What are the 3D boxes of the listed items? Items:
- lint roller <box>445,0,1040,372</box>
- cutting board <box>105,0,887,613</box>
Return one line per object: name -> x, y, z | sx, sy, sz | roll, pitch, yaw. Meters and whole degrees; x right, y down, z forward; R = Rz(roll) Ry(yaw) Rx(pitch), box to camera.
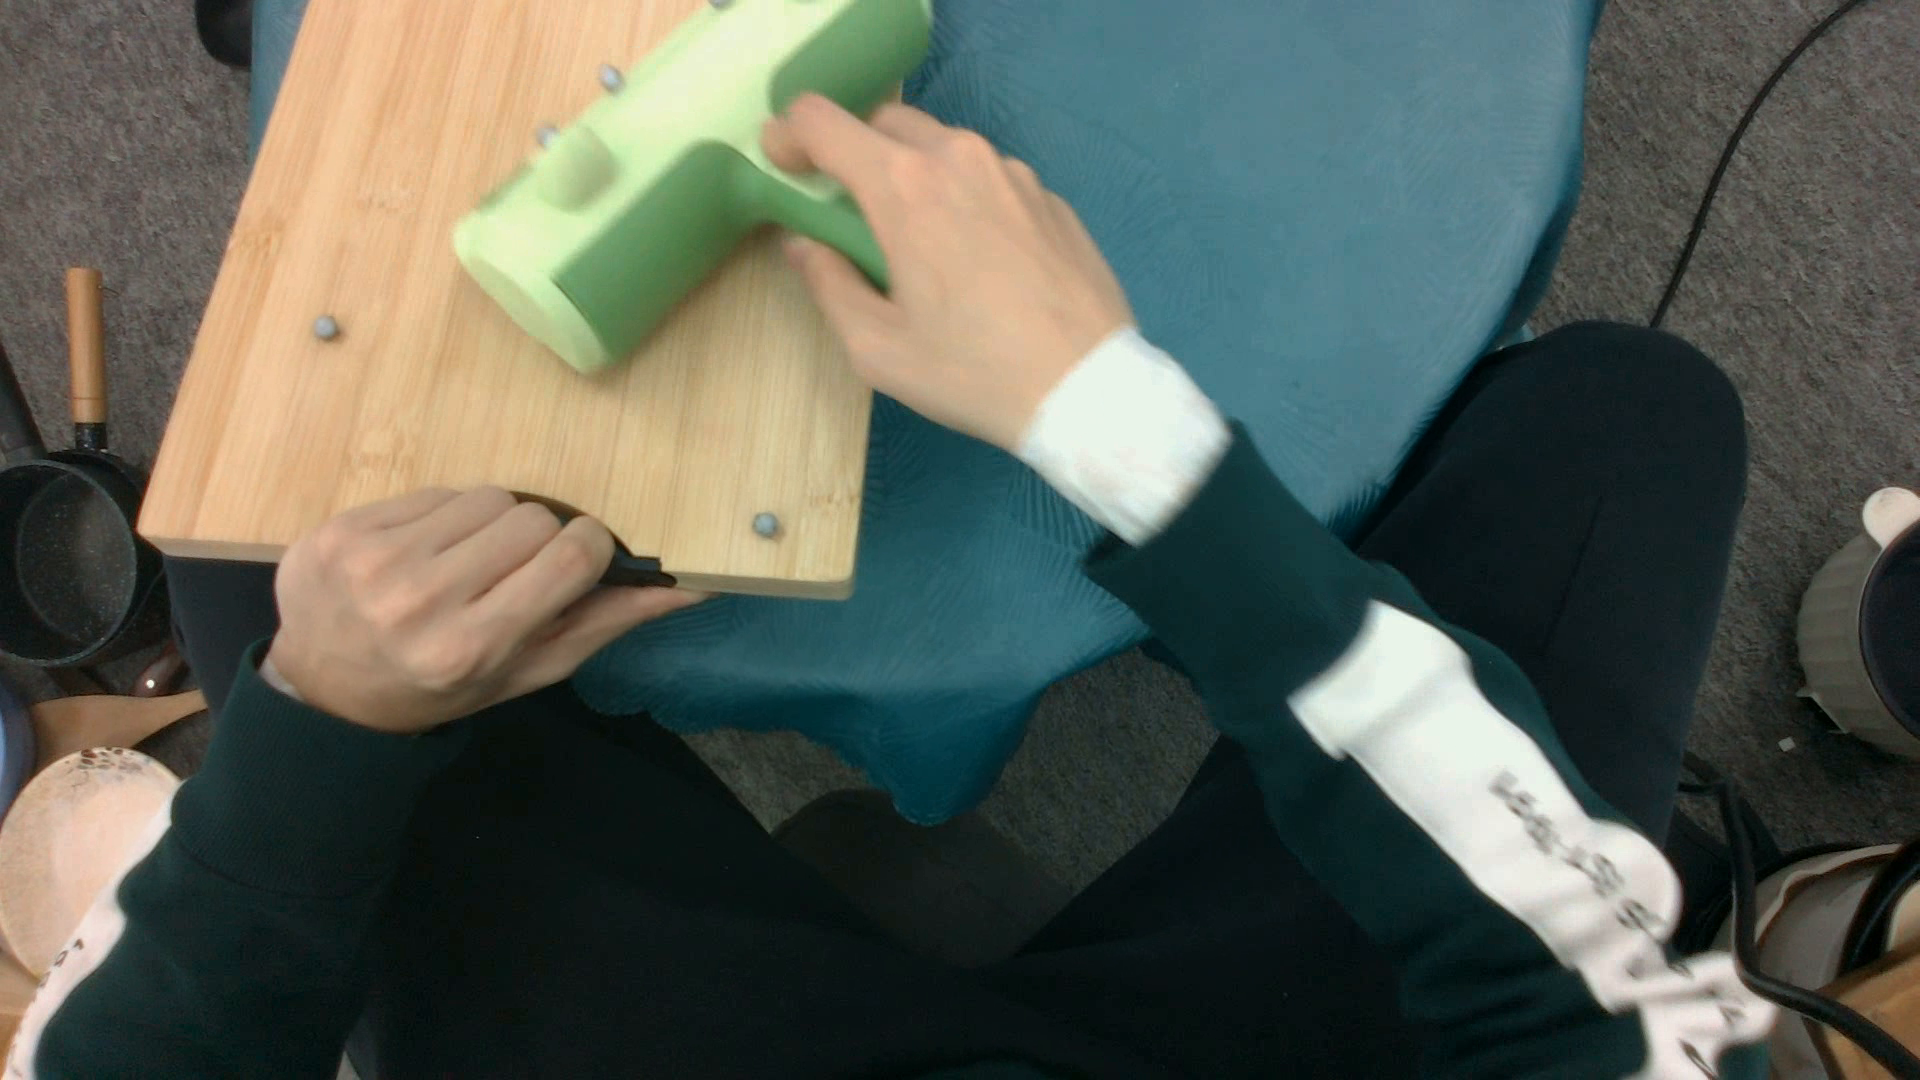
lint roller -> -0.051, -0.125, 0.468 | 0.183, 0.082, 0.199 | 30, 67, 28
cutting board -> -0.157, -0.140, 0.537 | 0.251, 0.023, 0.350 | 2, 66, -2
